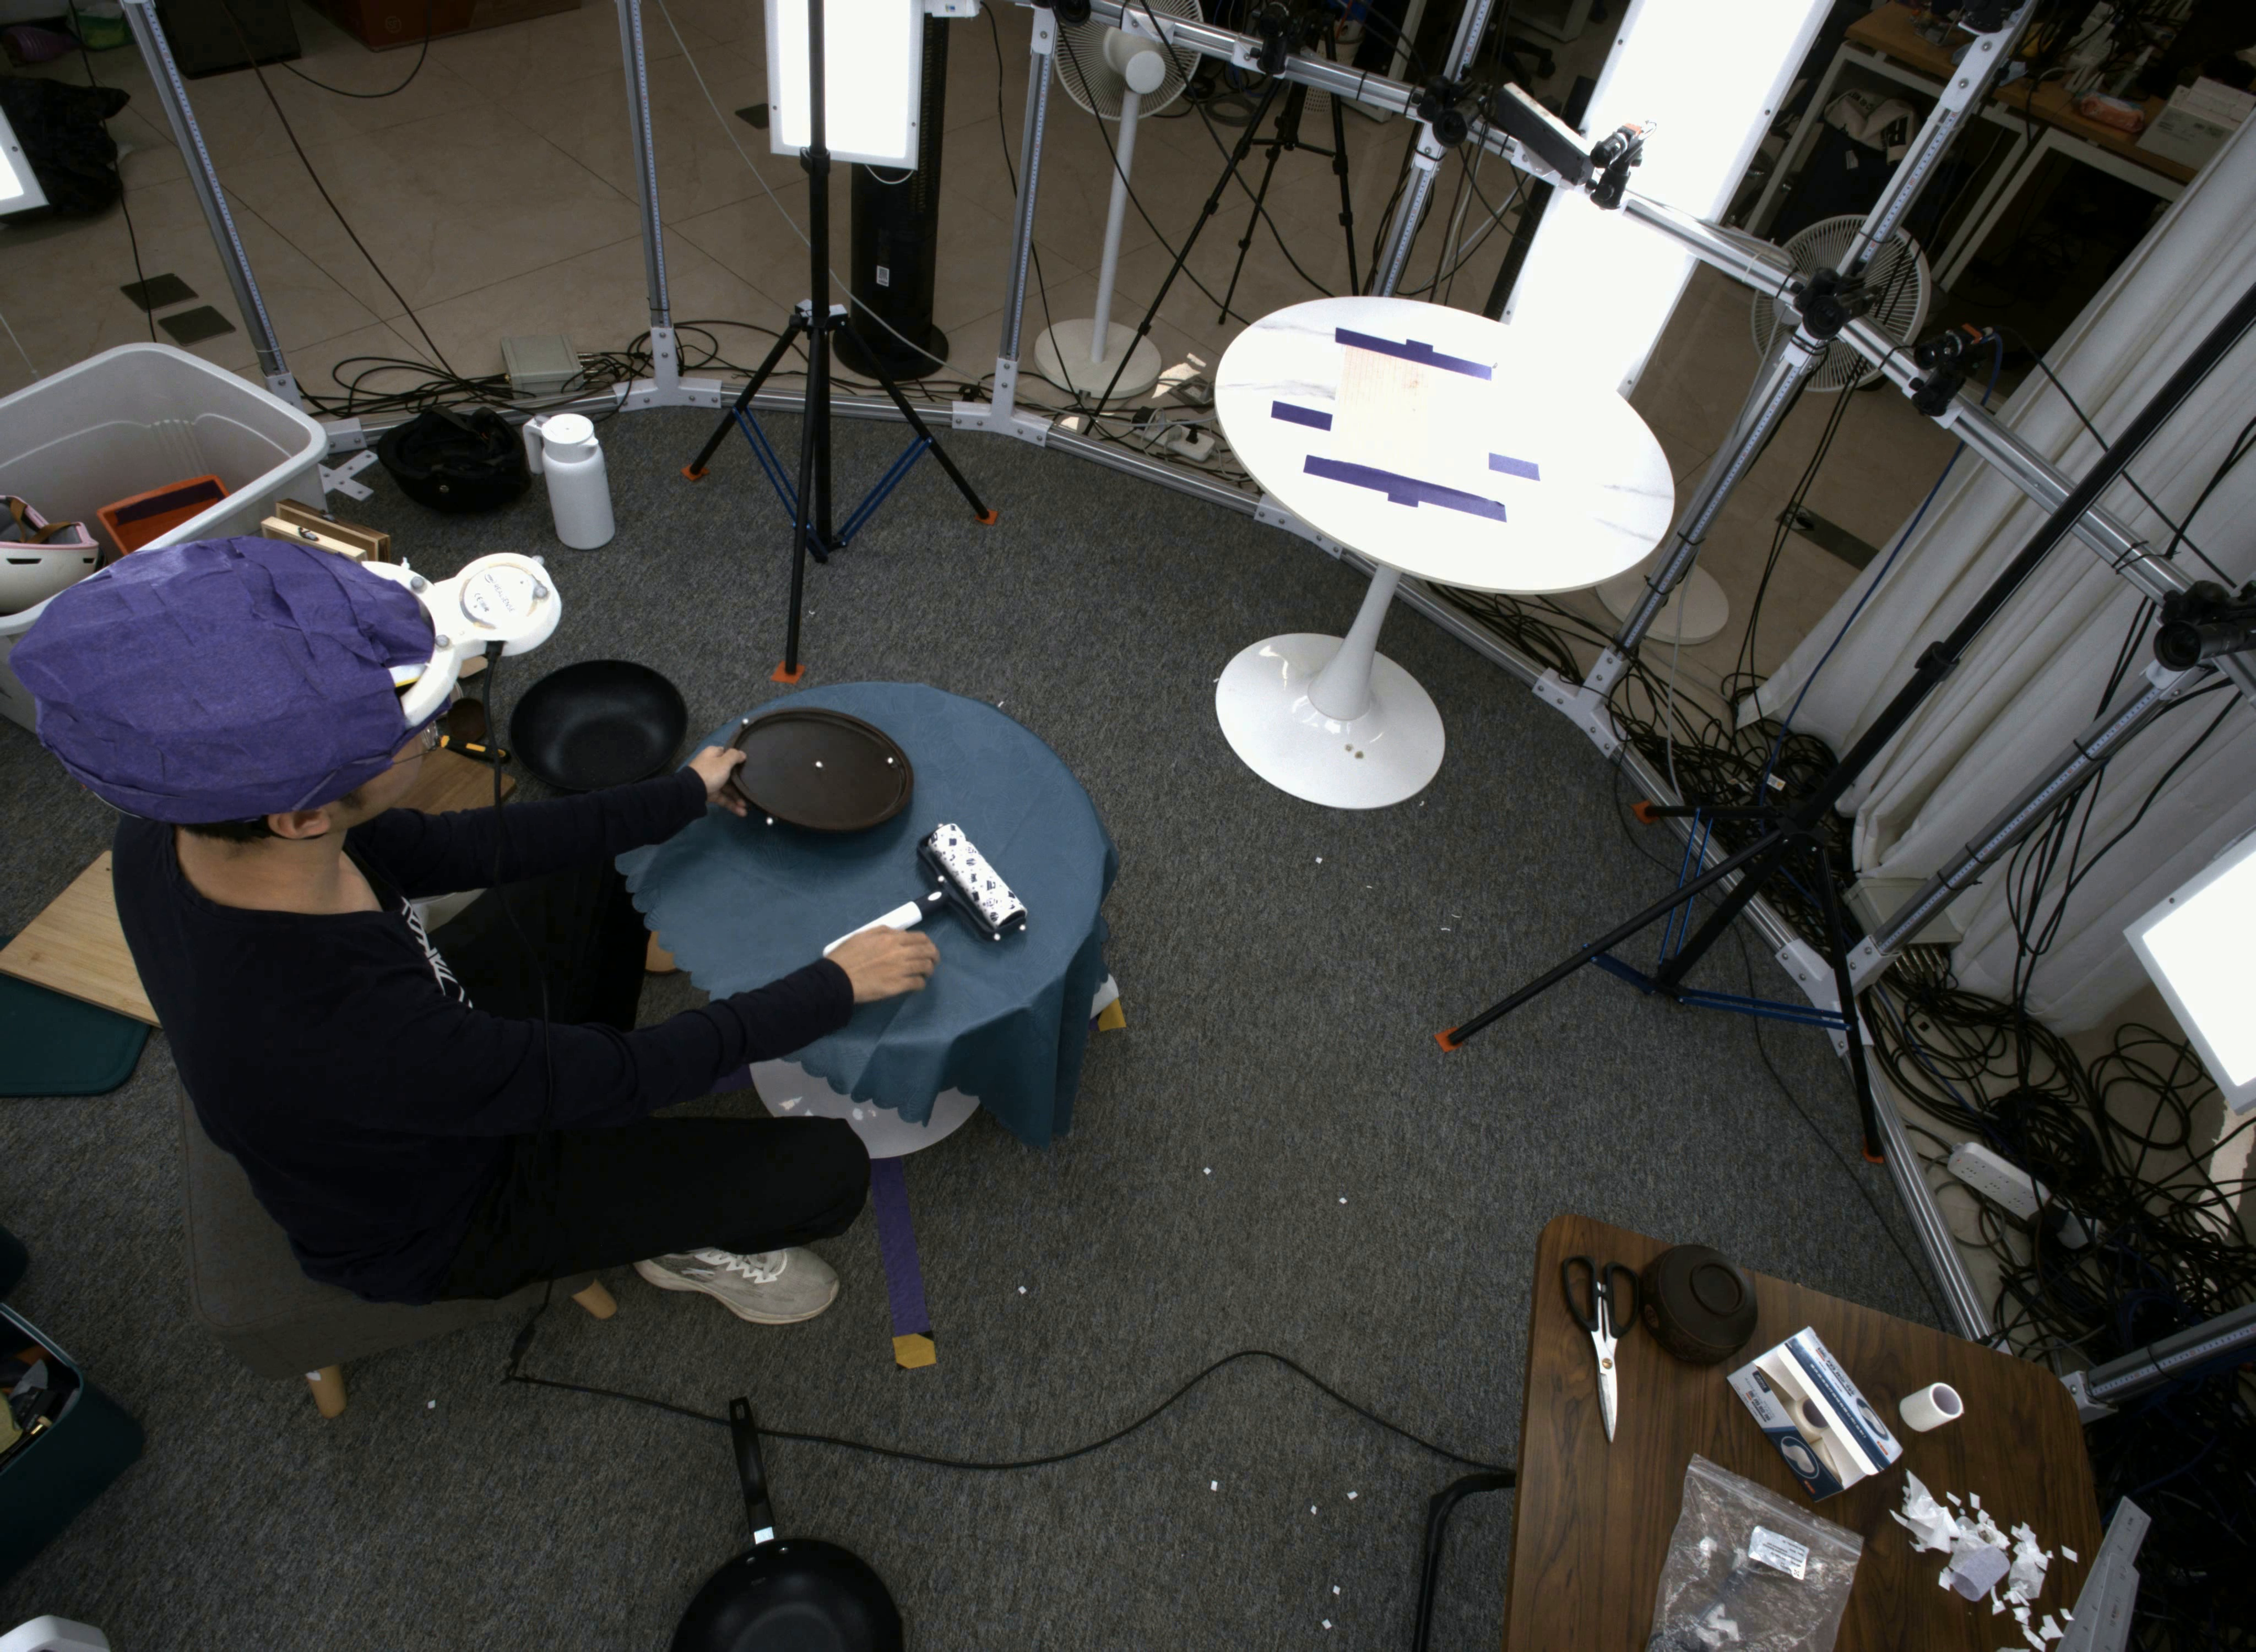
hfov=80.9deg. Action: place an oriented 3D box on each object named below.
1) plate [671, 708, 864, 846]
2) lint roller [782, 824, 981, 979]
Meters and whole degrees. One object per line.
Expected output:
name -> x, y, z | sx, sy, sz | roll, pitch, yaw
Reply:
plate -> -0.478, -0.067, 1.723 | 0.256, 0.029, 0.249 | 15, 41, -12
lint roller -> -0.330, 0.114, 1.647 | 0.247, 0.051, 0.172 | -33, 69, -29
